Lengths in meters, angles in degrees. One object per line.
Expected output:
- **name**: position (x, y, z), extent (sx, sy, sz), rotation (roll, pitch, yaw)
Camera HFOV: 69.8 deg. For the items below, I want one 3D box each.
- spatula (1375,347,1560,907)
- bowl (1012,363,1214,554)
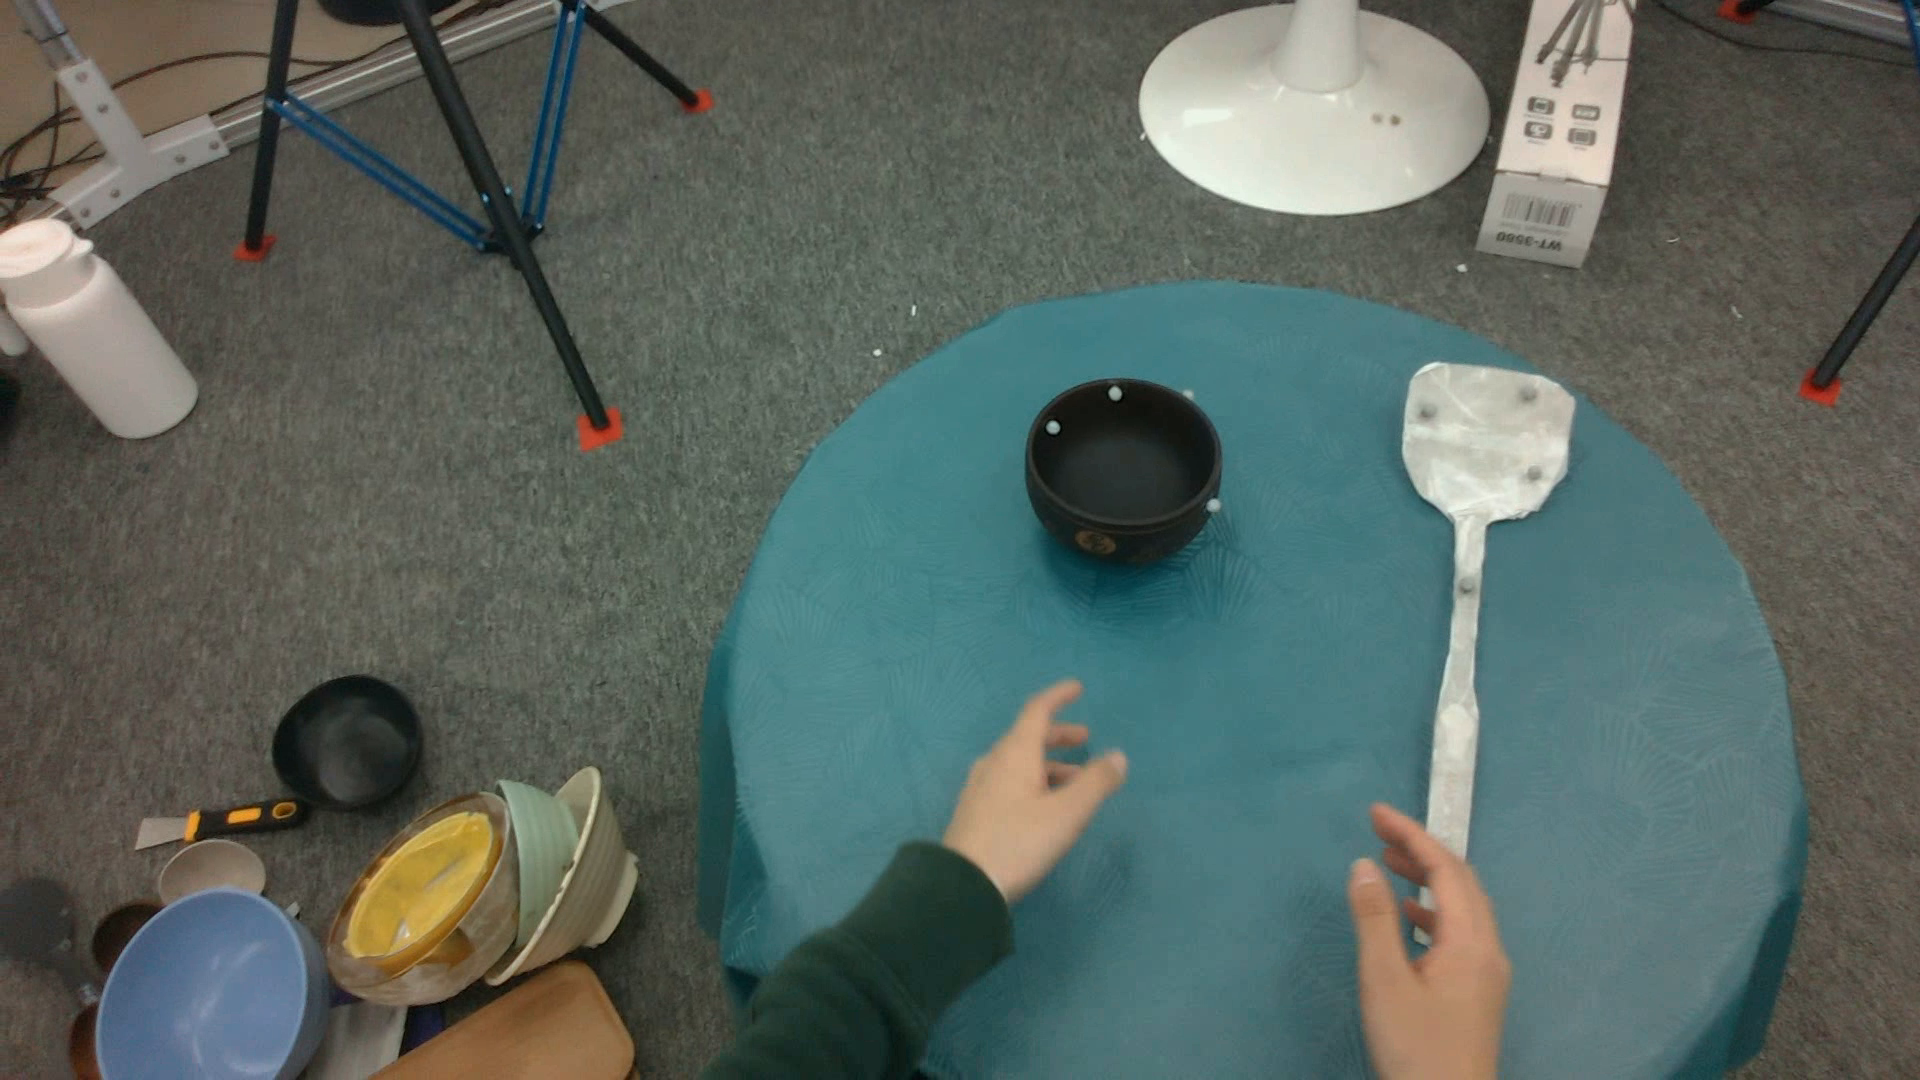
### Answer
- **spatula**: position (0.275, 0.035, 0.780), extent (0.098, 0.044, 0.367), rotation (14, 55, 10)
- **bowl**: position (0.091, -0.041, 0.825), extent (0.118, 0.069, 0.118), rotation (-2, 54, 3)
